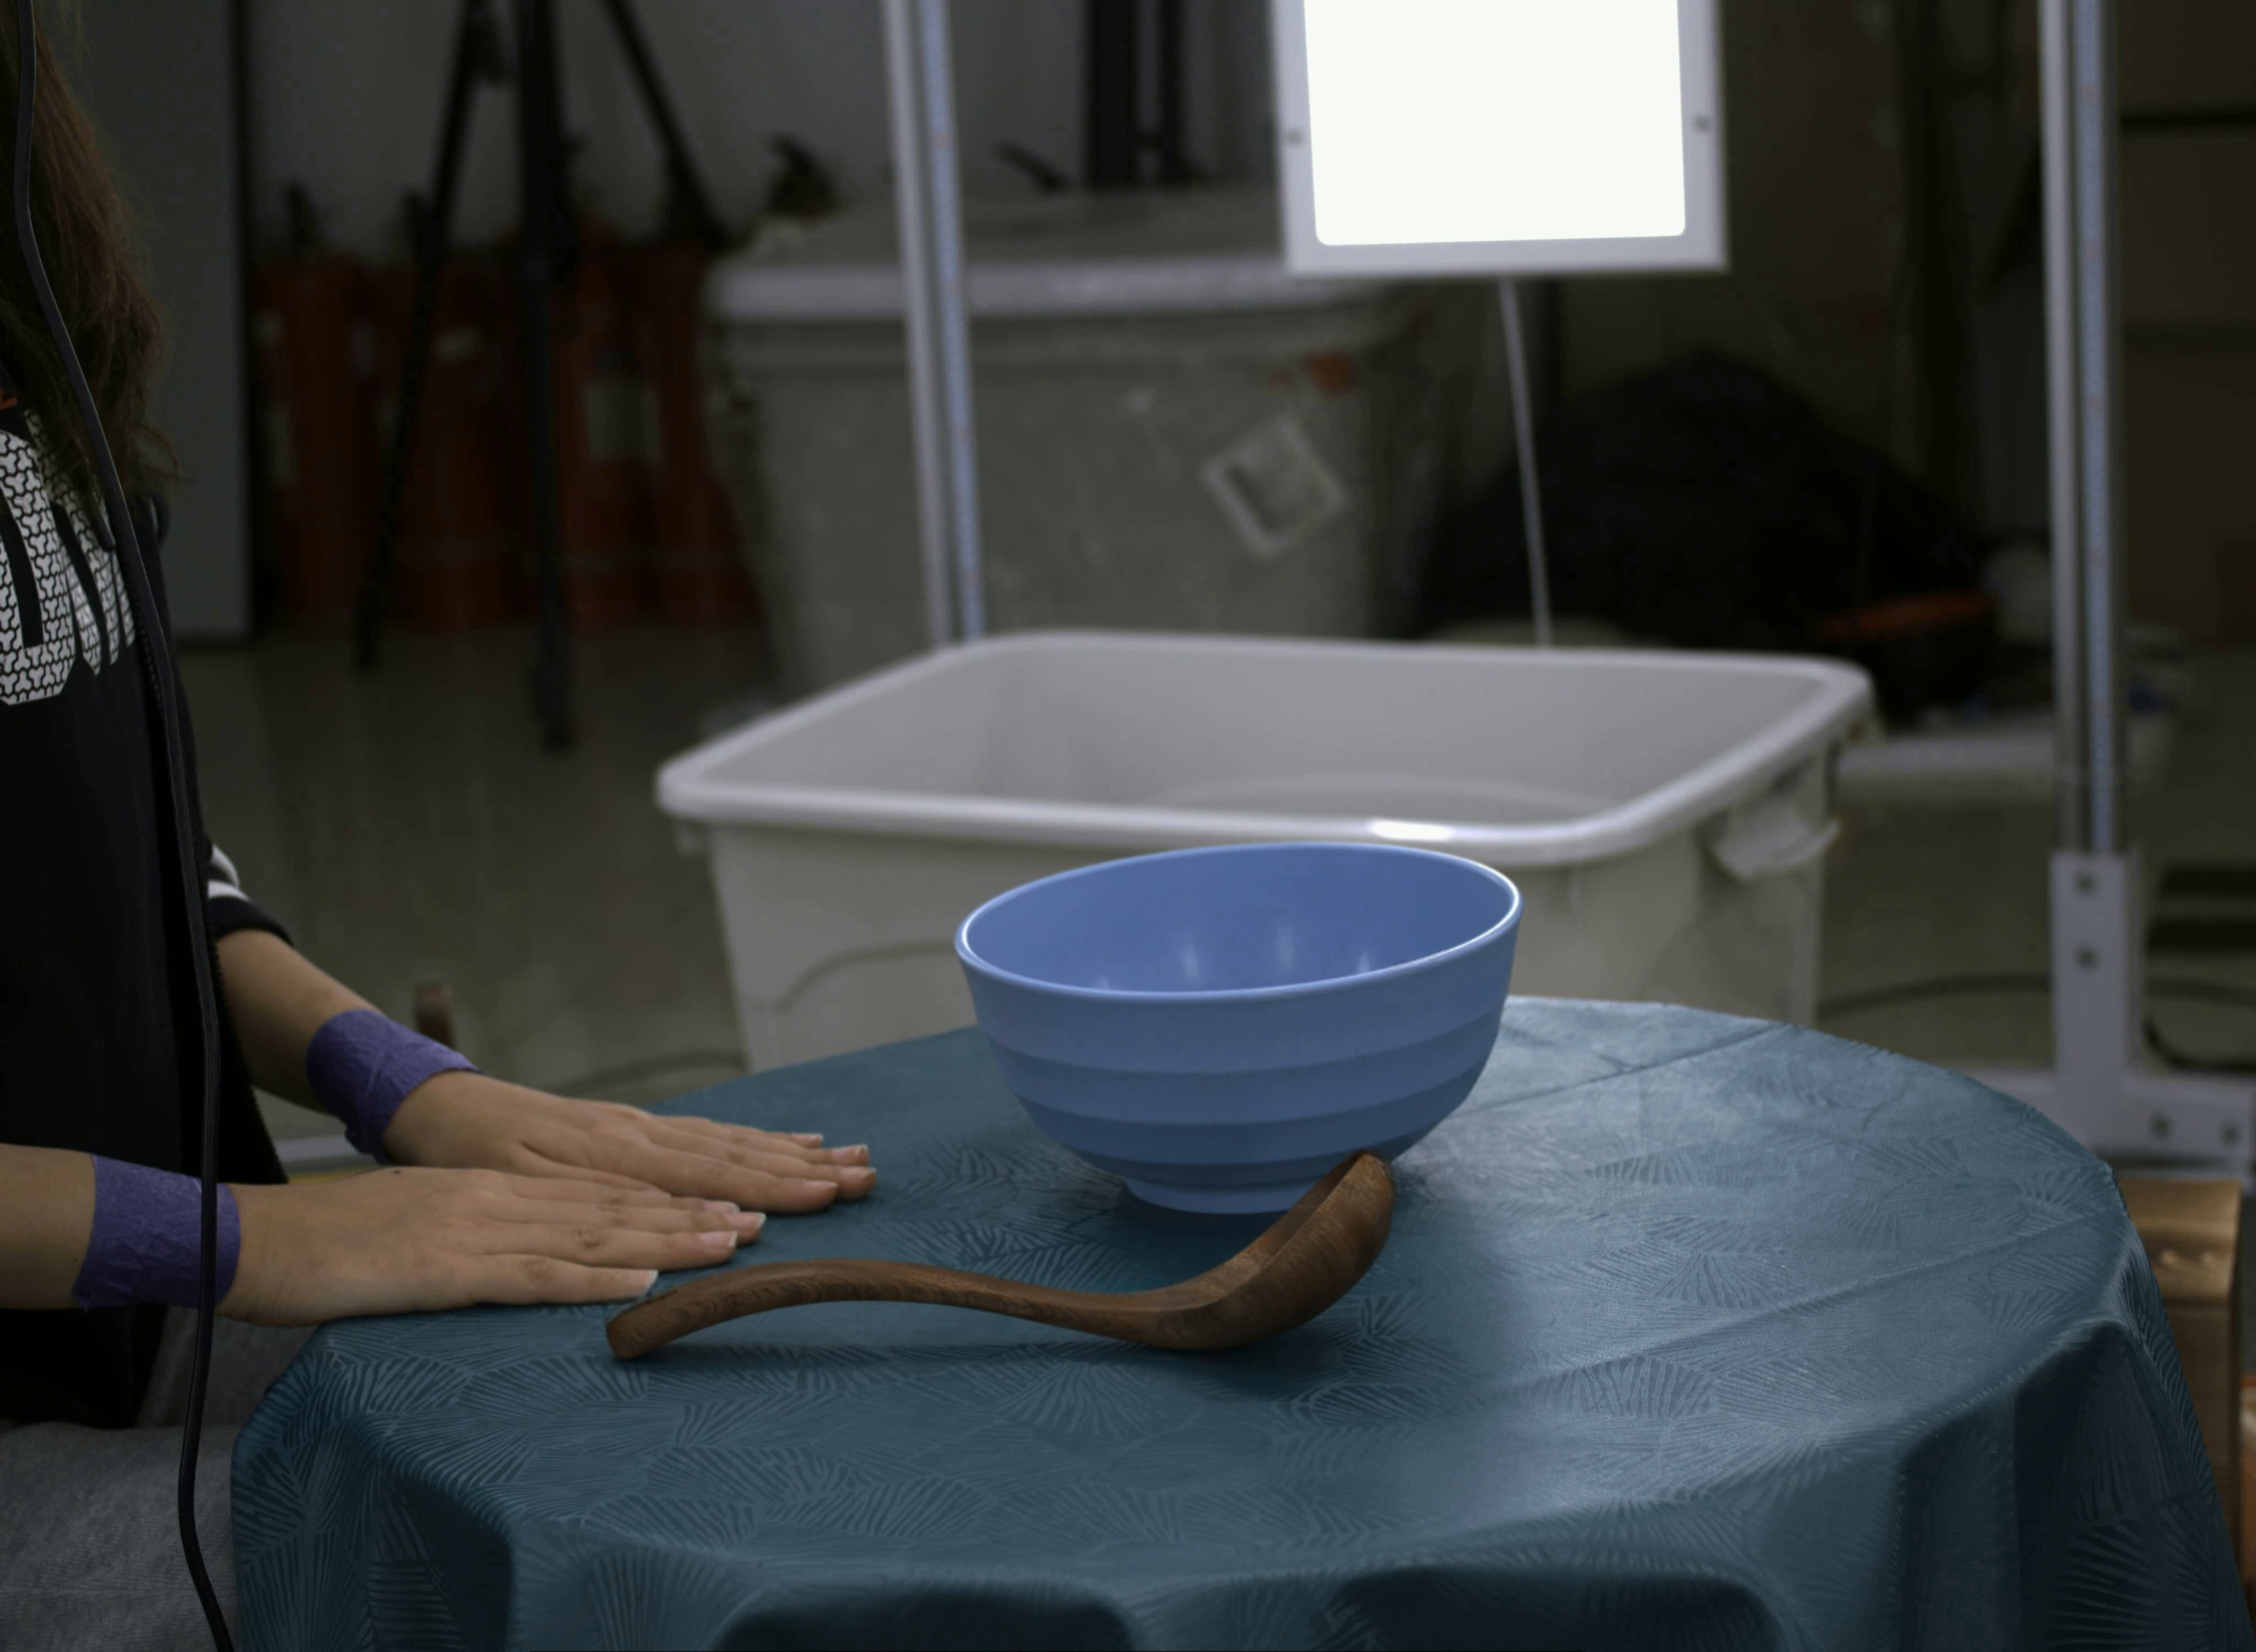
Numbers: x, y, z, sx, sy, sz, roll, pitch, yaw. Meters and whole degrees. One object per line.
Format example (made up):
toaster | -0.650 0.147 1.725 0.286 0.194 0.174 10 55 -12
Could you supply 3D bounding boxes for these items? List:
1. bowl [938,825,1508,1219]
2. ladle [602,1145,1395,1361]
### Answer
bowl | 0.034 0.075 1.900 0.196 0.096 0.196 -3 19 0
ladle | -0.043 0.136 1.745 0.262 0.065 0.075 -2 8 14
